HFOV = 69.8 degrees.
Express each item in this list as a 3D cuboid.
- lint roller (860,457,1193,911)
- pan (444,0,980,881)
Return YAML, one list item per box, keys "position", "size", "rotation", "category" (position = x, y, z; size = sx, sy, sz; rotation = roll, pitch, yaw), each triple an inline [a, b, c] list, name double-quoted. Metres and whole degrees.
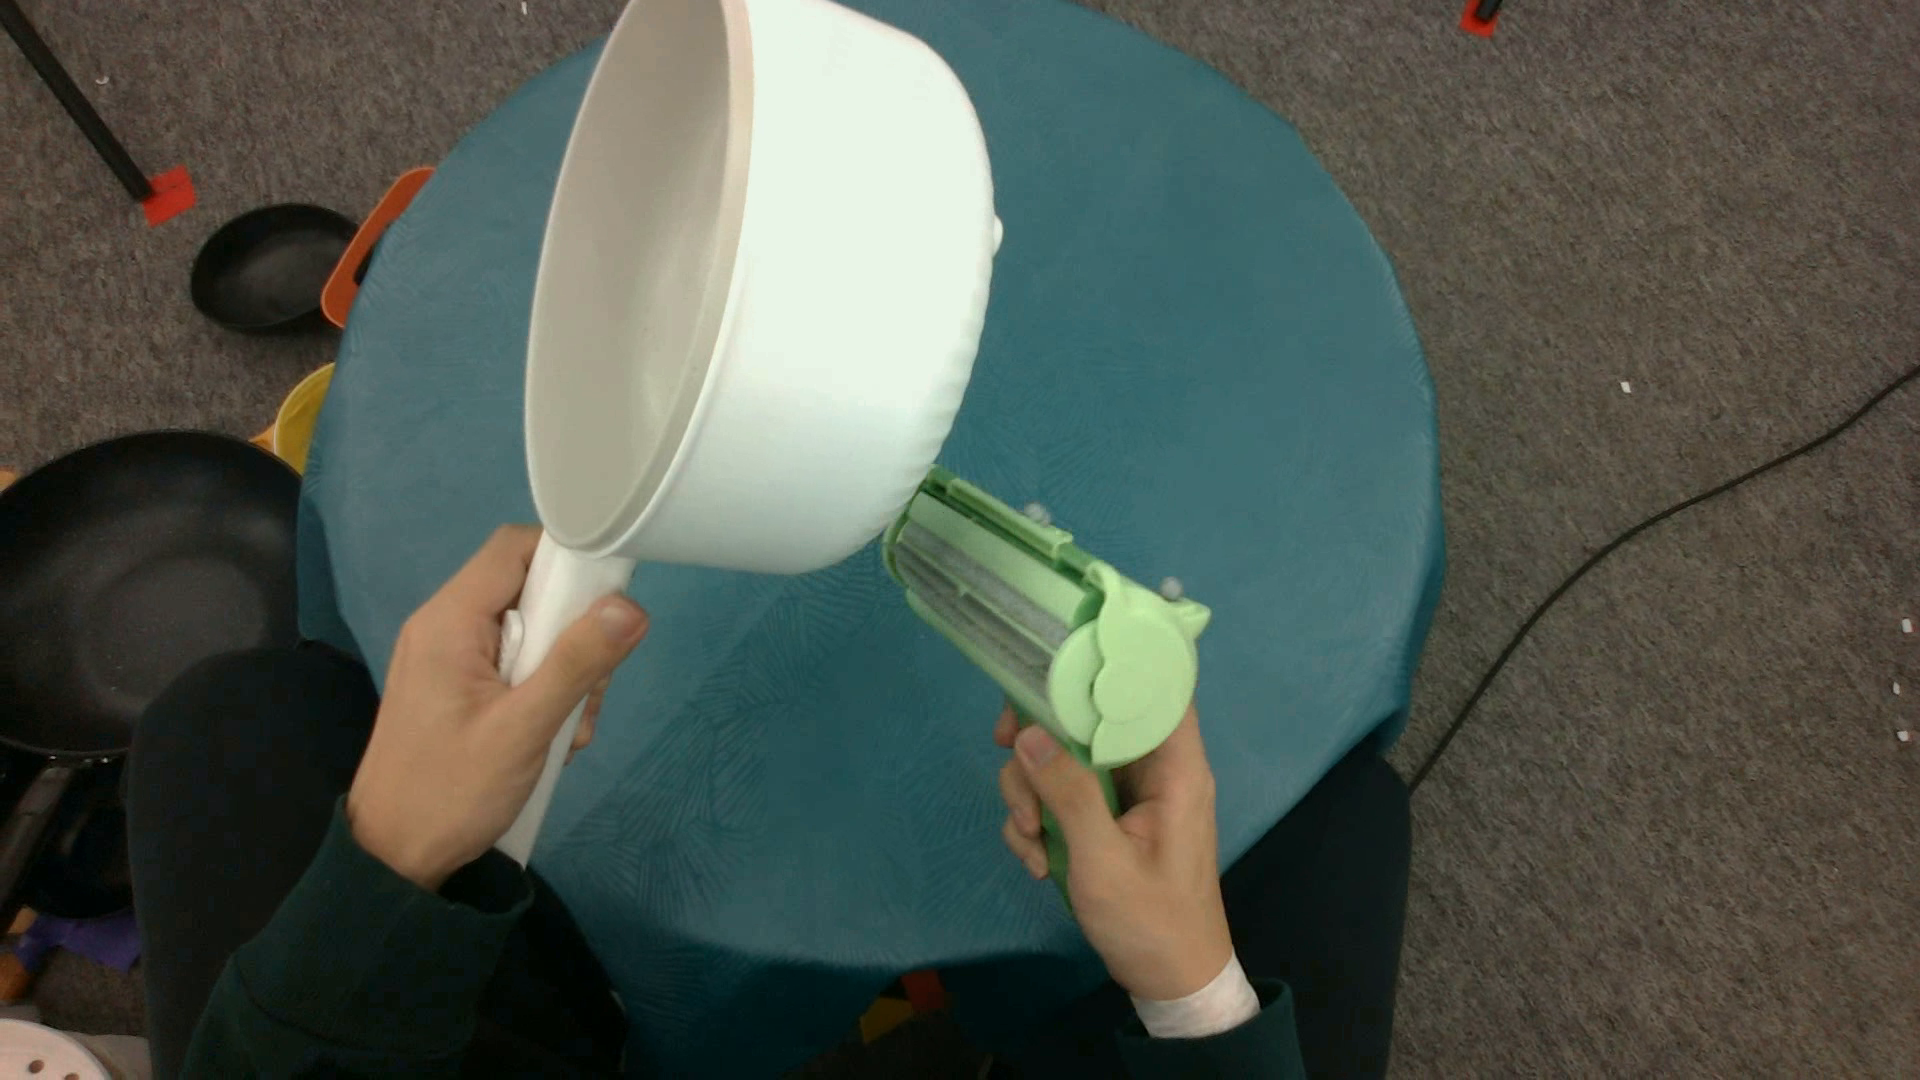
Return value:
- position: [0.045, 0.059, 0.541]
  size: [0.082, 0.198, 0.183]
  rotation: [-33, 112, -12]
  category: "lint roller"
- position: [-0.104, -0.024, 0.507]
  size: [0.102, 0.353, 0.201]
  rotation: [6, 25, -33]
  category: "pan"
